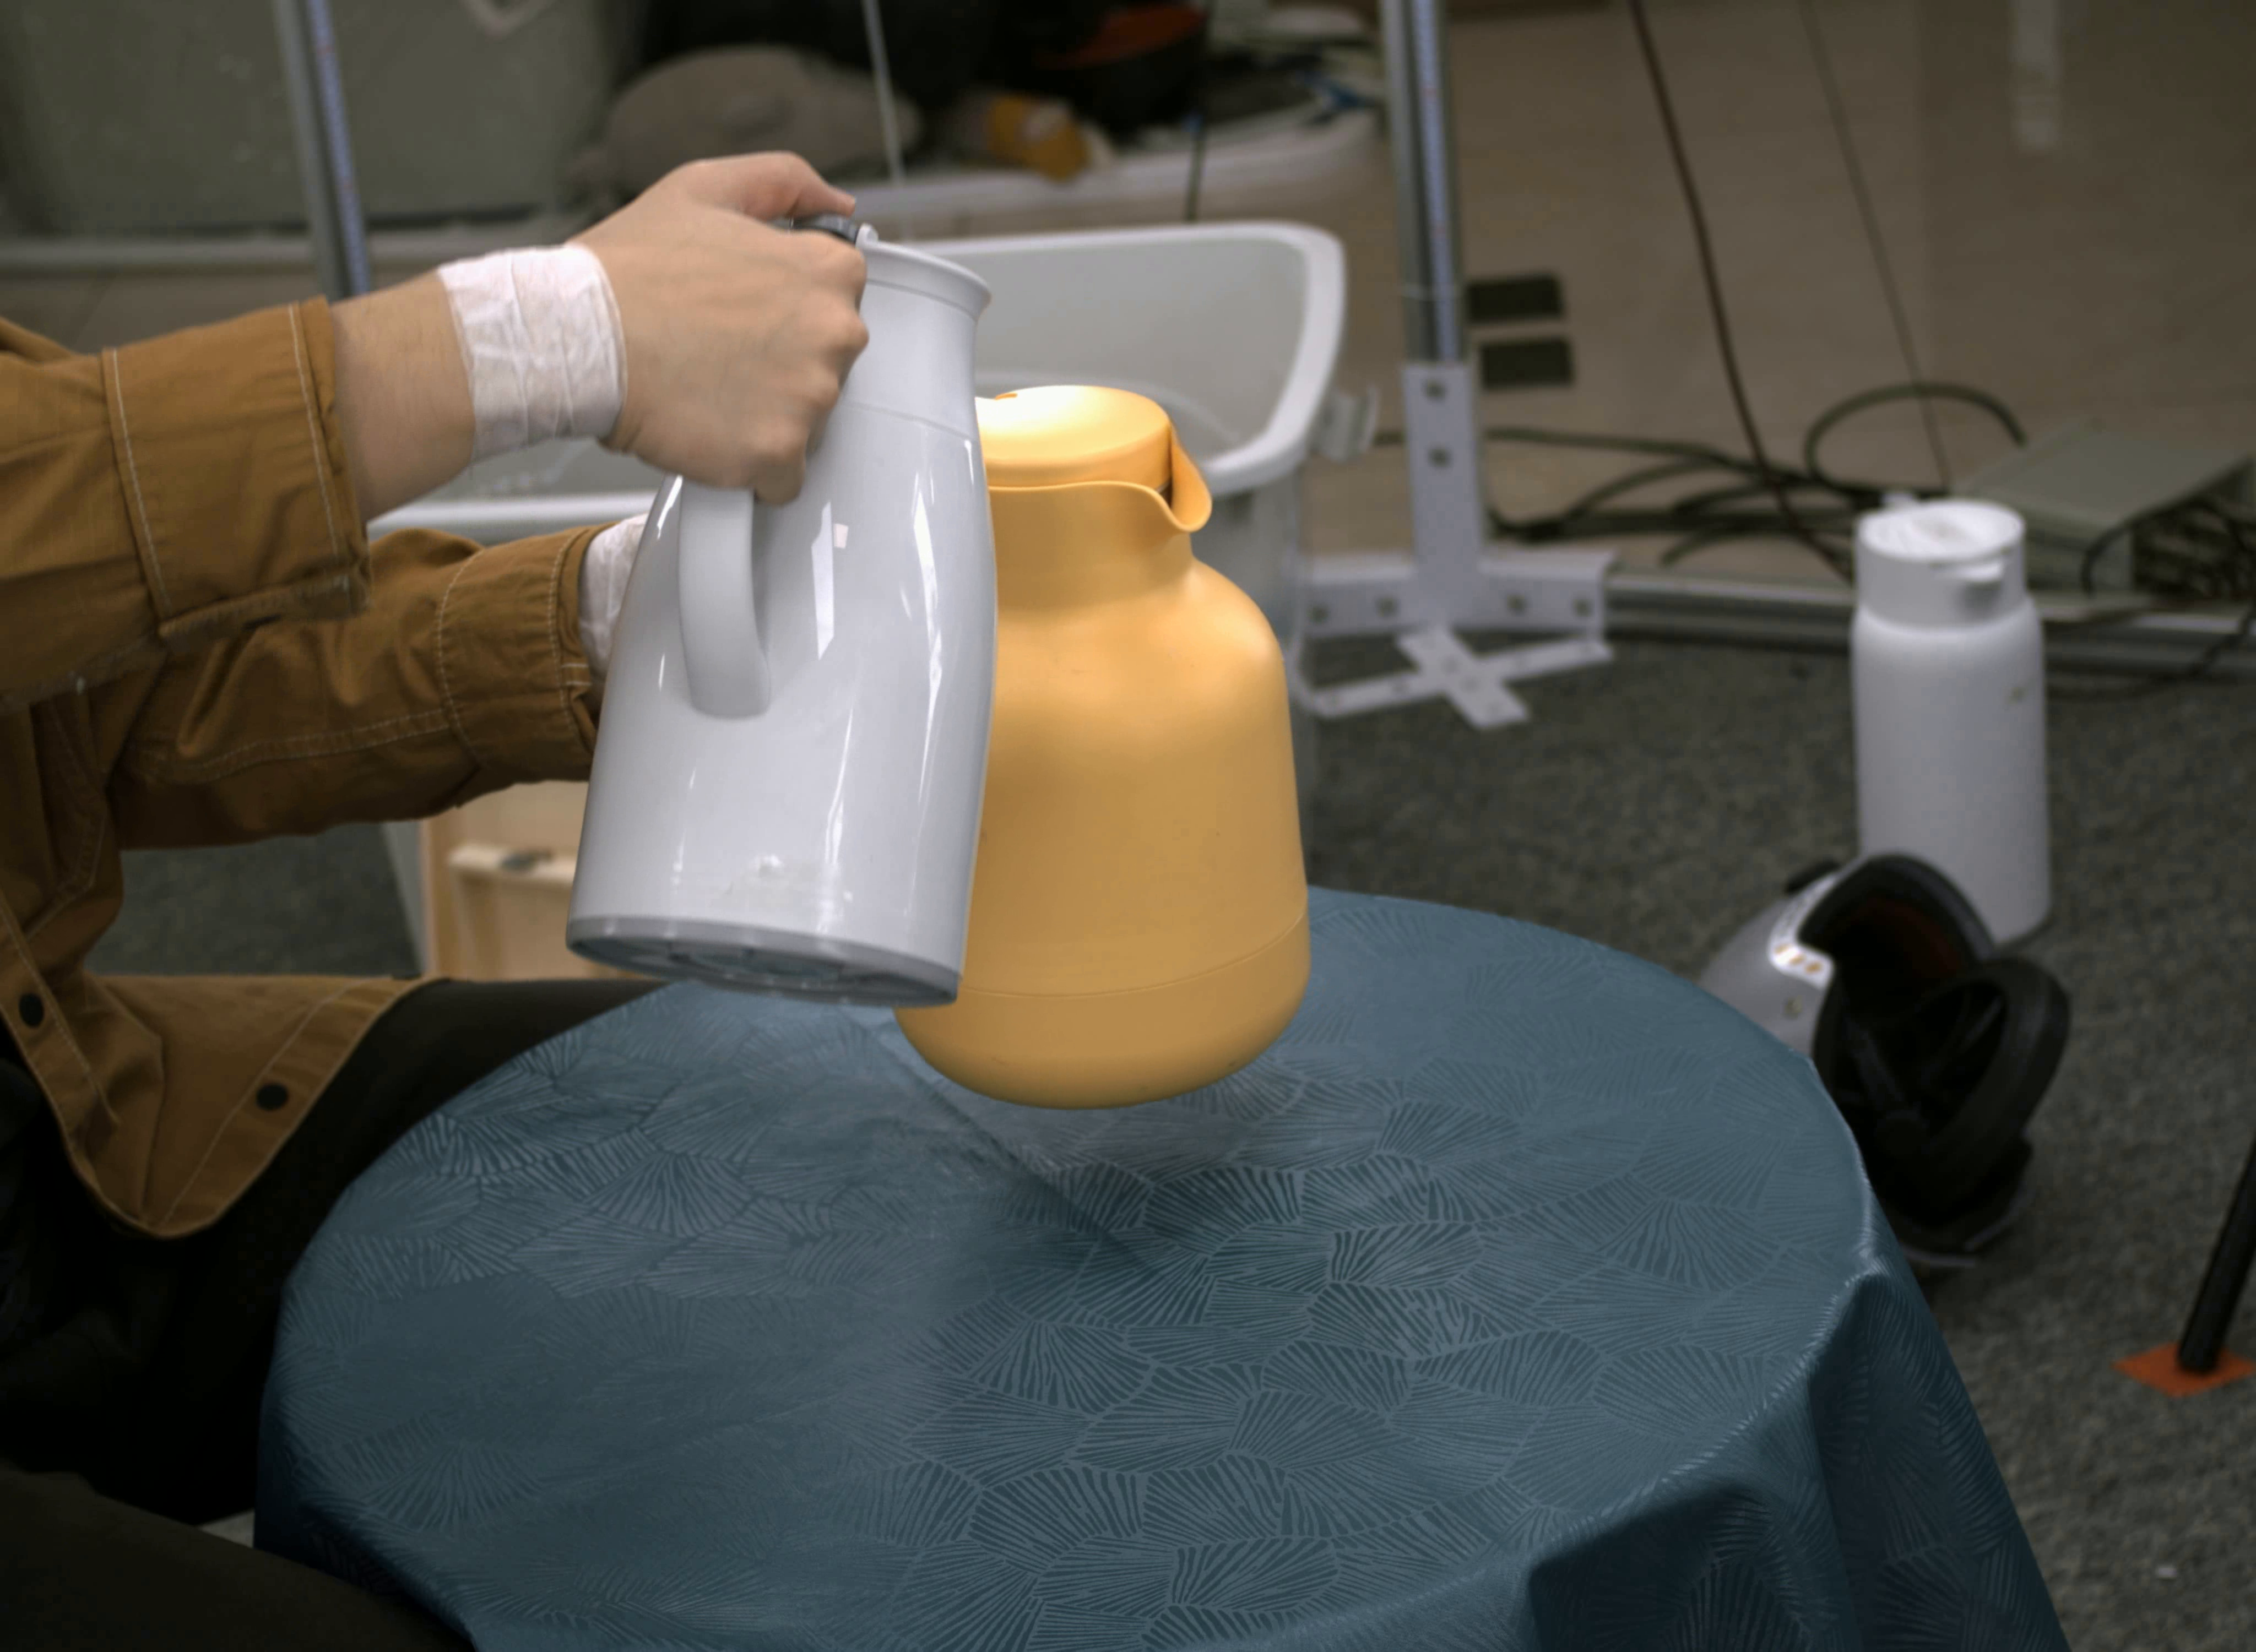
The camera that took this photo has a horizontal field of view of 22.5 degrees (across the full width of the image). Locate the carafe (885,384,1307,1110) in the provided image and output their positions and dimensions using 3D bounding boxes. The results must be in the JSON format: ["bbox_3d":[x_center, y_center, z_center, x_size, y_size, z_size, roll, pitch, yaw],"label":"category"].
[{"bbox_3d":[-0.030,-0.039,2.136,0.162,0.264,0.201,-22,30,-38],"label":"carafe"}]

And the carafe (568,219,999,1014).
[{"bbox_3d":[-0.109,-0.073,1.875,0.132,0.248,0.168,6,-7,17],"label":"carafe"}]
